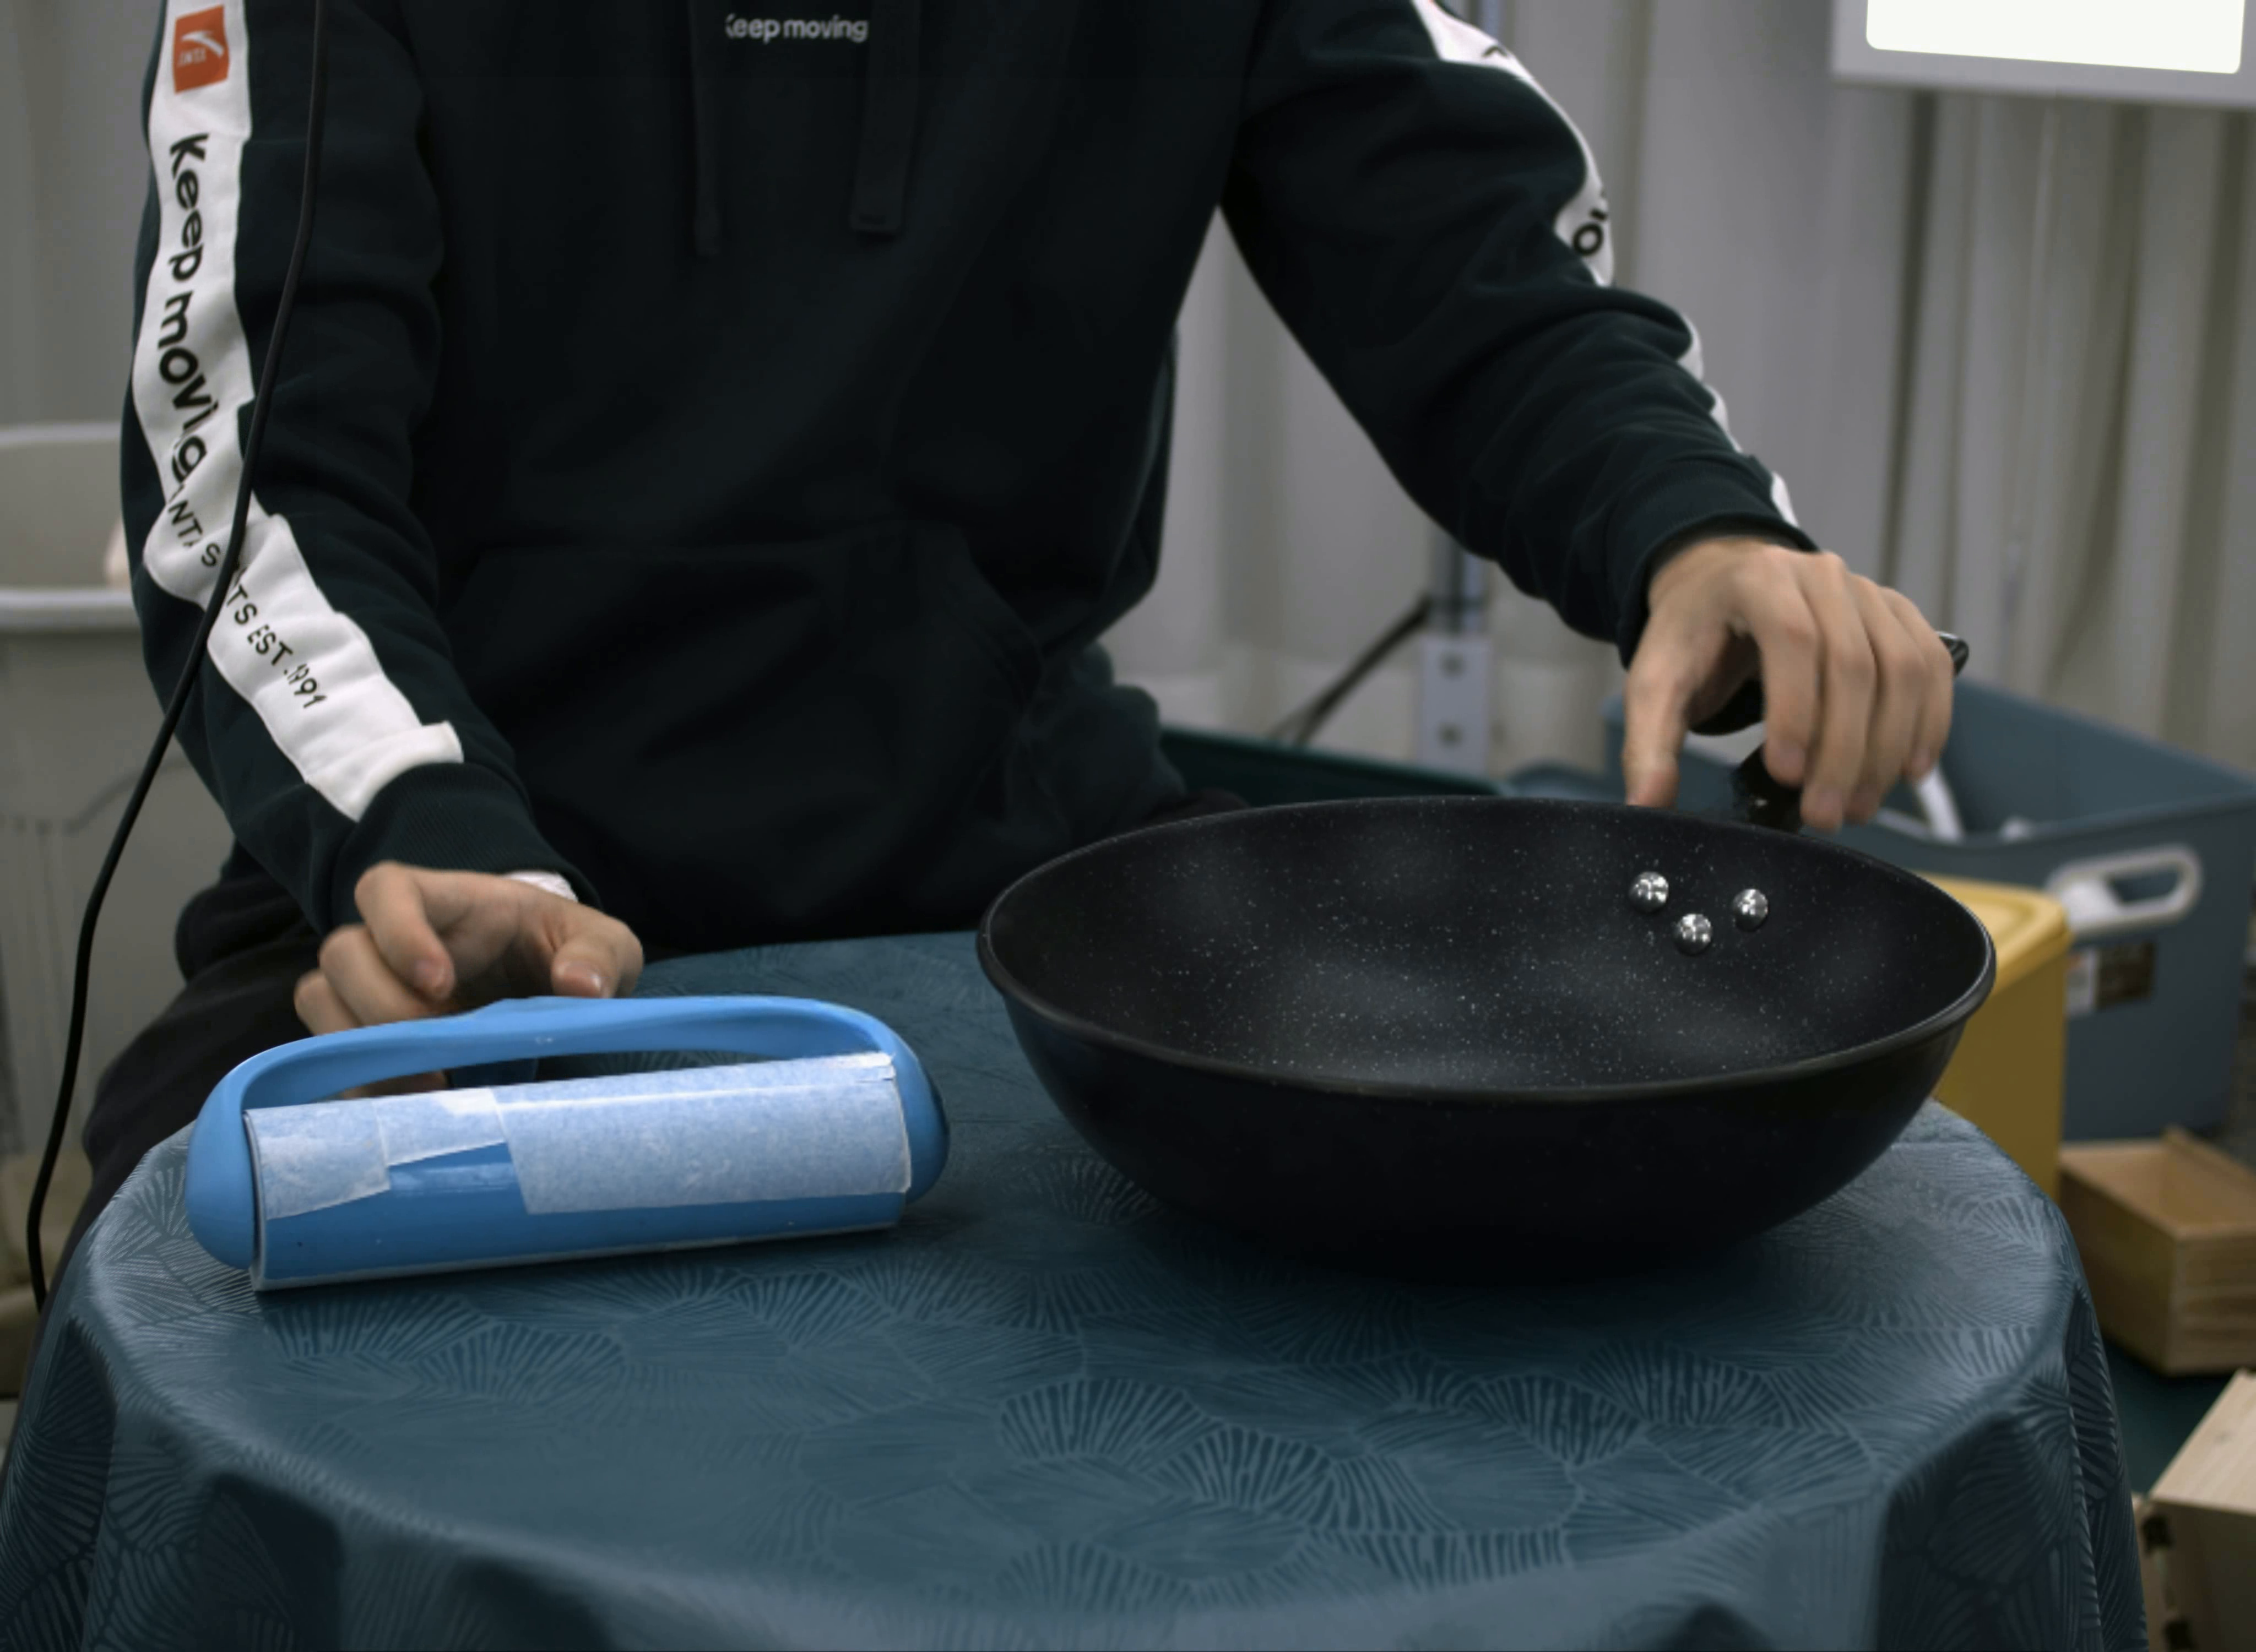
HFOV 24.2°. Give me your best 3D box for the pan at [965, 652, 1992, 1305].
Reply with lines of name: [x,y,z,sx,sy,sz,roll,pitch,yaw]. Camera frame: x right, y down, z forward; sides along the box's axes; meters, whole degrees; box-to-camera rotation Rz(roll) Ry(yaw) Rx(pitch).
pan: [0.150,0.046,1.665,0.306,0.112,0.478,12,19,30]

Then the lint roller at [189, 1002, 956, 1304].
lint roller: [-0.182,0.087,1.603,0.229,0.068,0.178,-7,17,-20]
